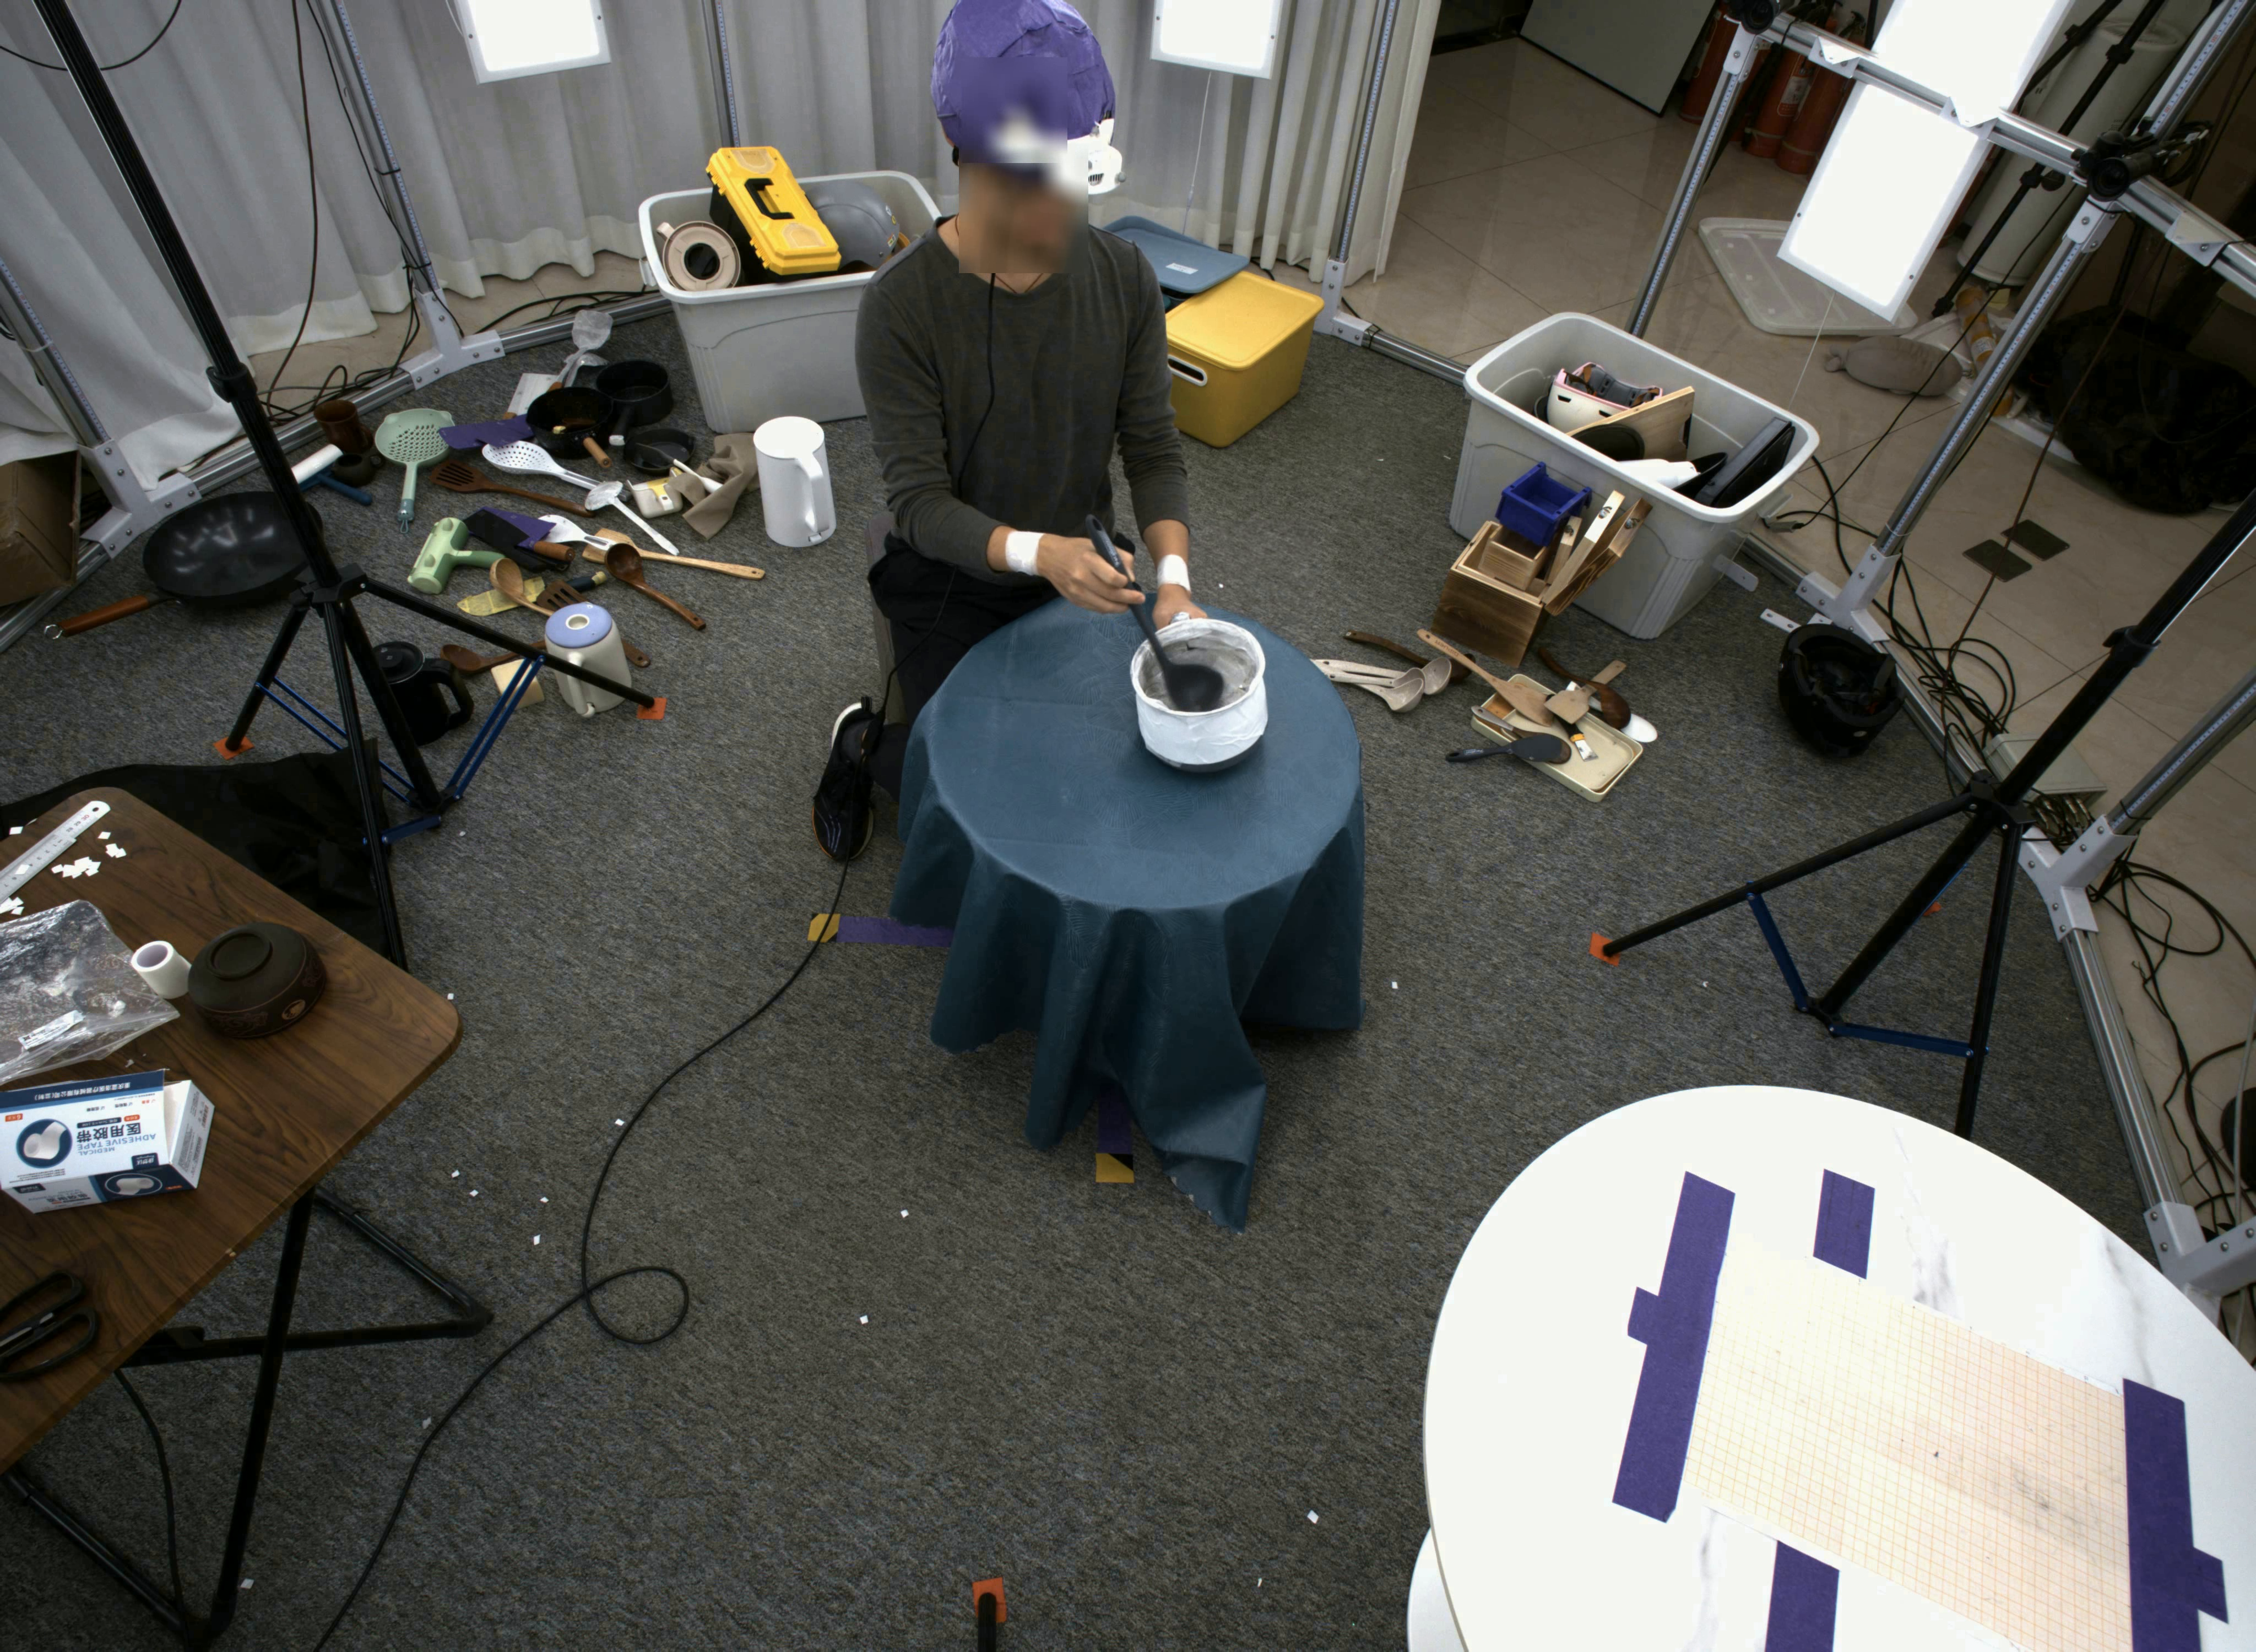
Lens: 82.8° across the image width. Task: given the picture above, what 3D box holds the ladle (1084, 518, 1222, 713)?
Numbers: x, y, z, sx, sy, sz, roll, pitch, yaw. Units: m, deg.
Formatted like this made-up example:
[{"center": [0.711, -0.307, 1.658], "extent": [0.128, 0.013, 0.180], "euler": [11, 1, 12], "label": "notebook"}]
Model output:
[{"center": [0.032, -0.268, 1.657], "extent": [0.064, 0.307, 0.088], "euler": [0, 45, 37], "label": "ladle"}]

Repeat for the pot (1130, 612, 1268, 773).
[{"center": [0.093, -0.191, 1.740], "extent": [0.178, 0.133, 0.239], "euler": [-13, 50, -2], "label": "pot"}]
